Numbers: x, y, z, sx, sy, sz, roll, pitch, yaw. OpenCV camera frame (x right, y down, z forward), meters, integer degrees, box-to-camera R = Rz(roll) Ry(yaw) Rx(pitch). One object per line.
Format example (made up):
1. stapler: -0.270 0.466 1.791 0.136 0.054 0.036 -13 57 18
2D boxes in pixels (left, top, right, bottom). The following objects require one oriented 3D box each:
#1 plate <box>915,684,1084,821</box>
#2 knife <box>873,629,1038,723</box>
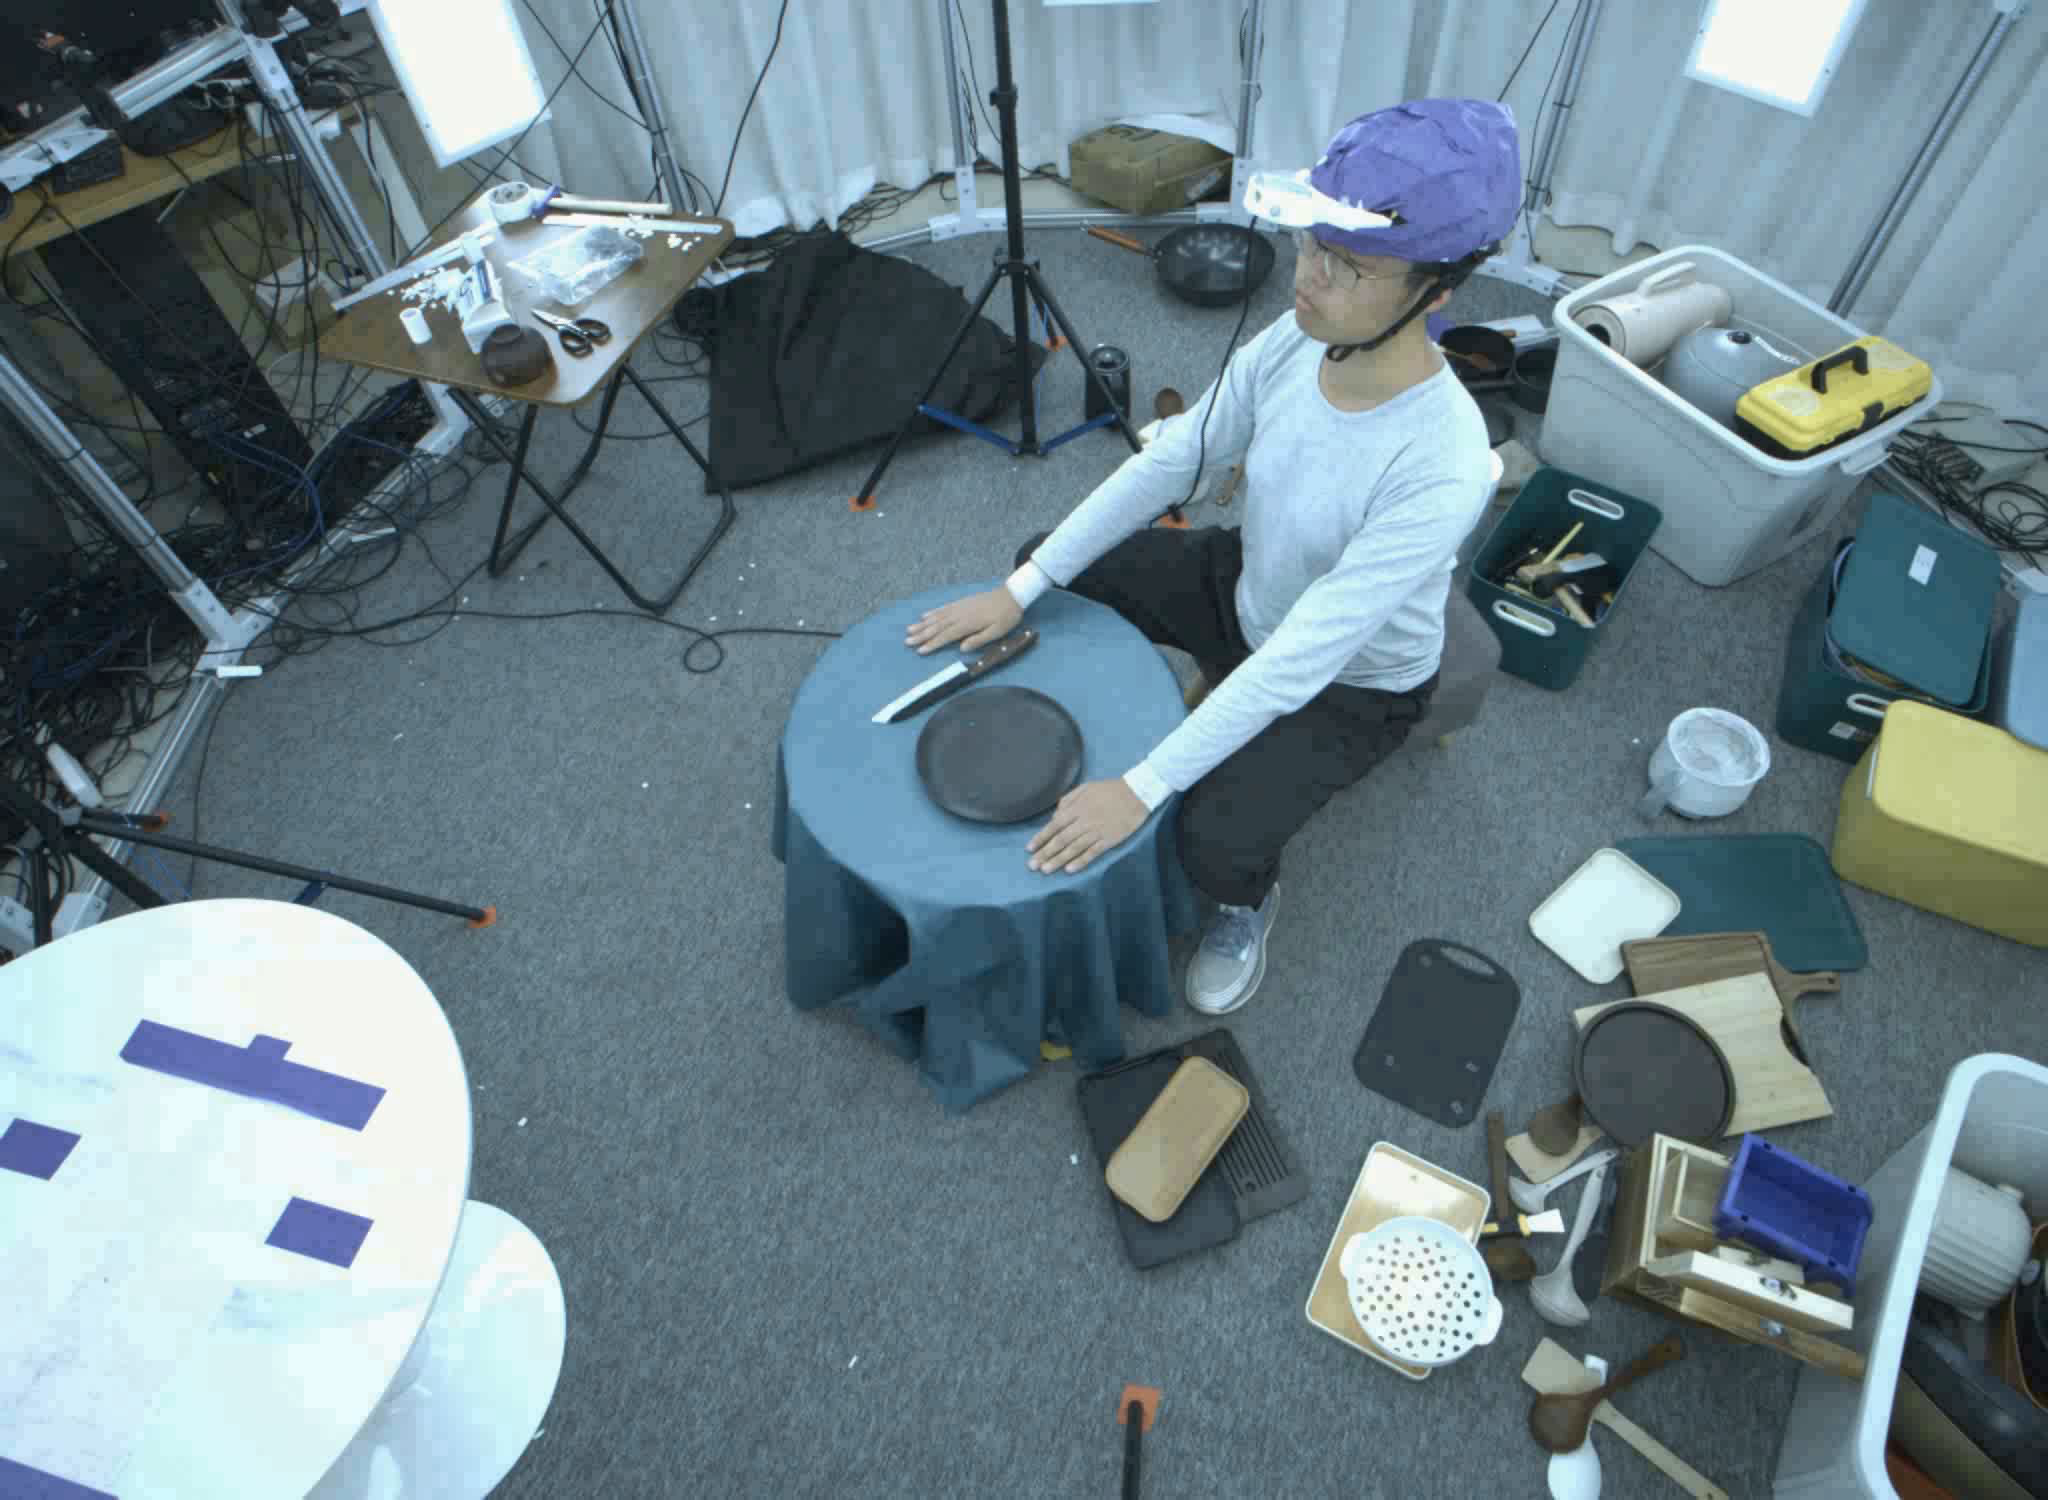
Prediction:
1. plate: -0.036 0.005 1.778 0.244 0.023 0.242 0 54 1
2. knife: -0.104 -0.112 1.869 0.291 0.020 0.049 -30 54 -16
